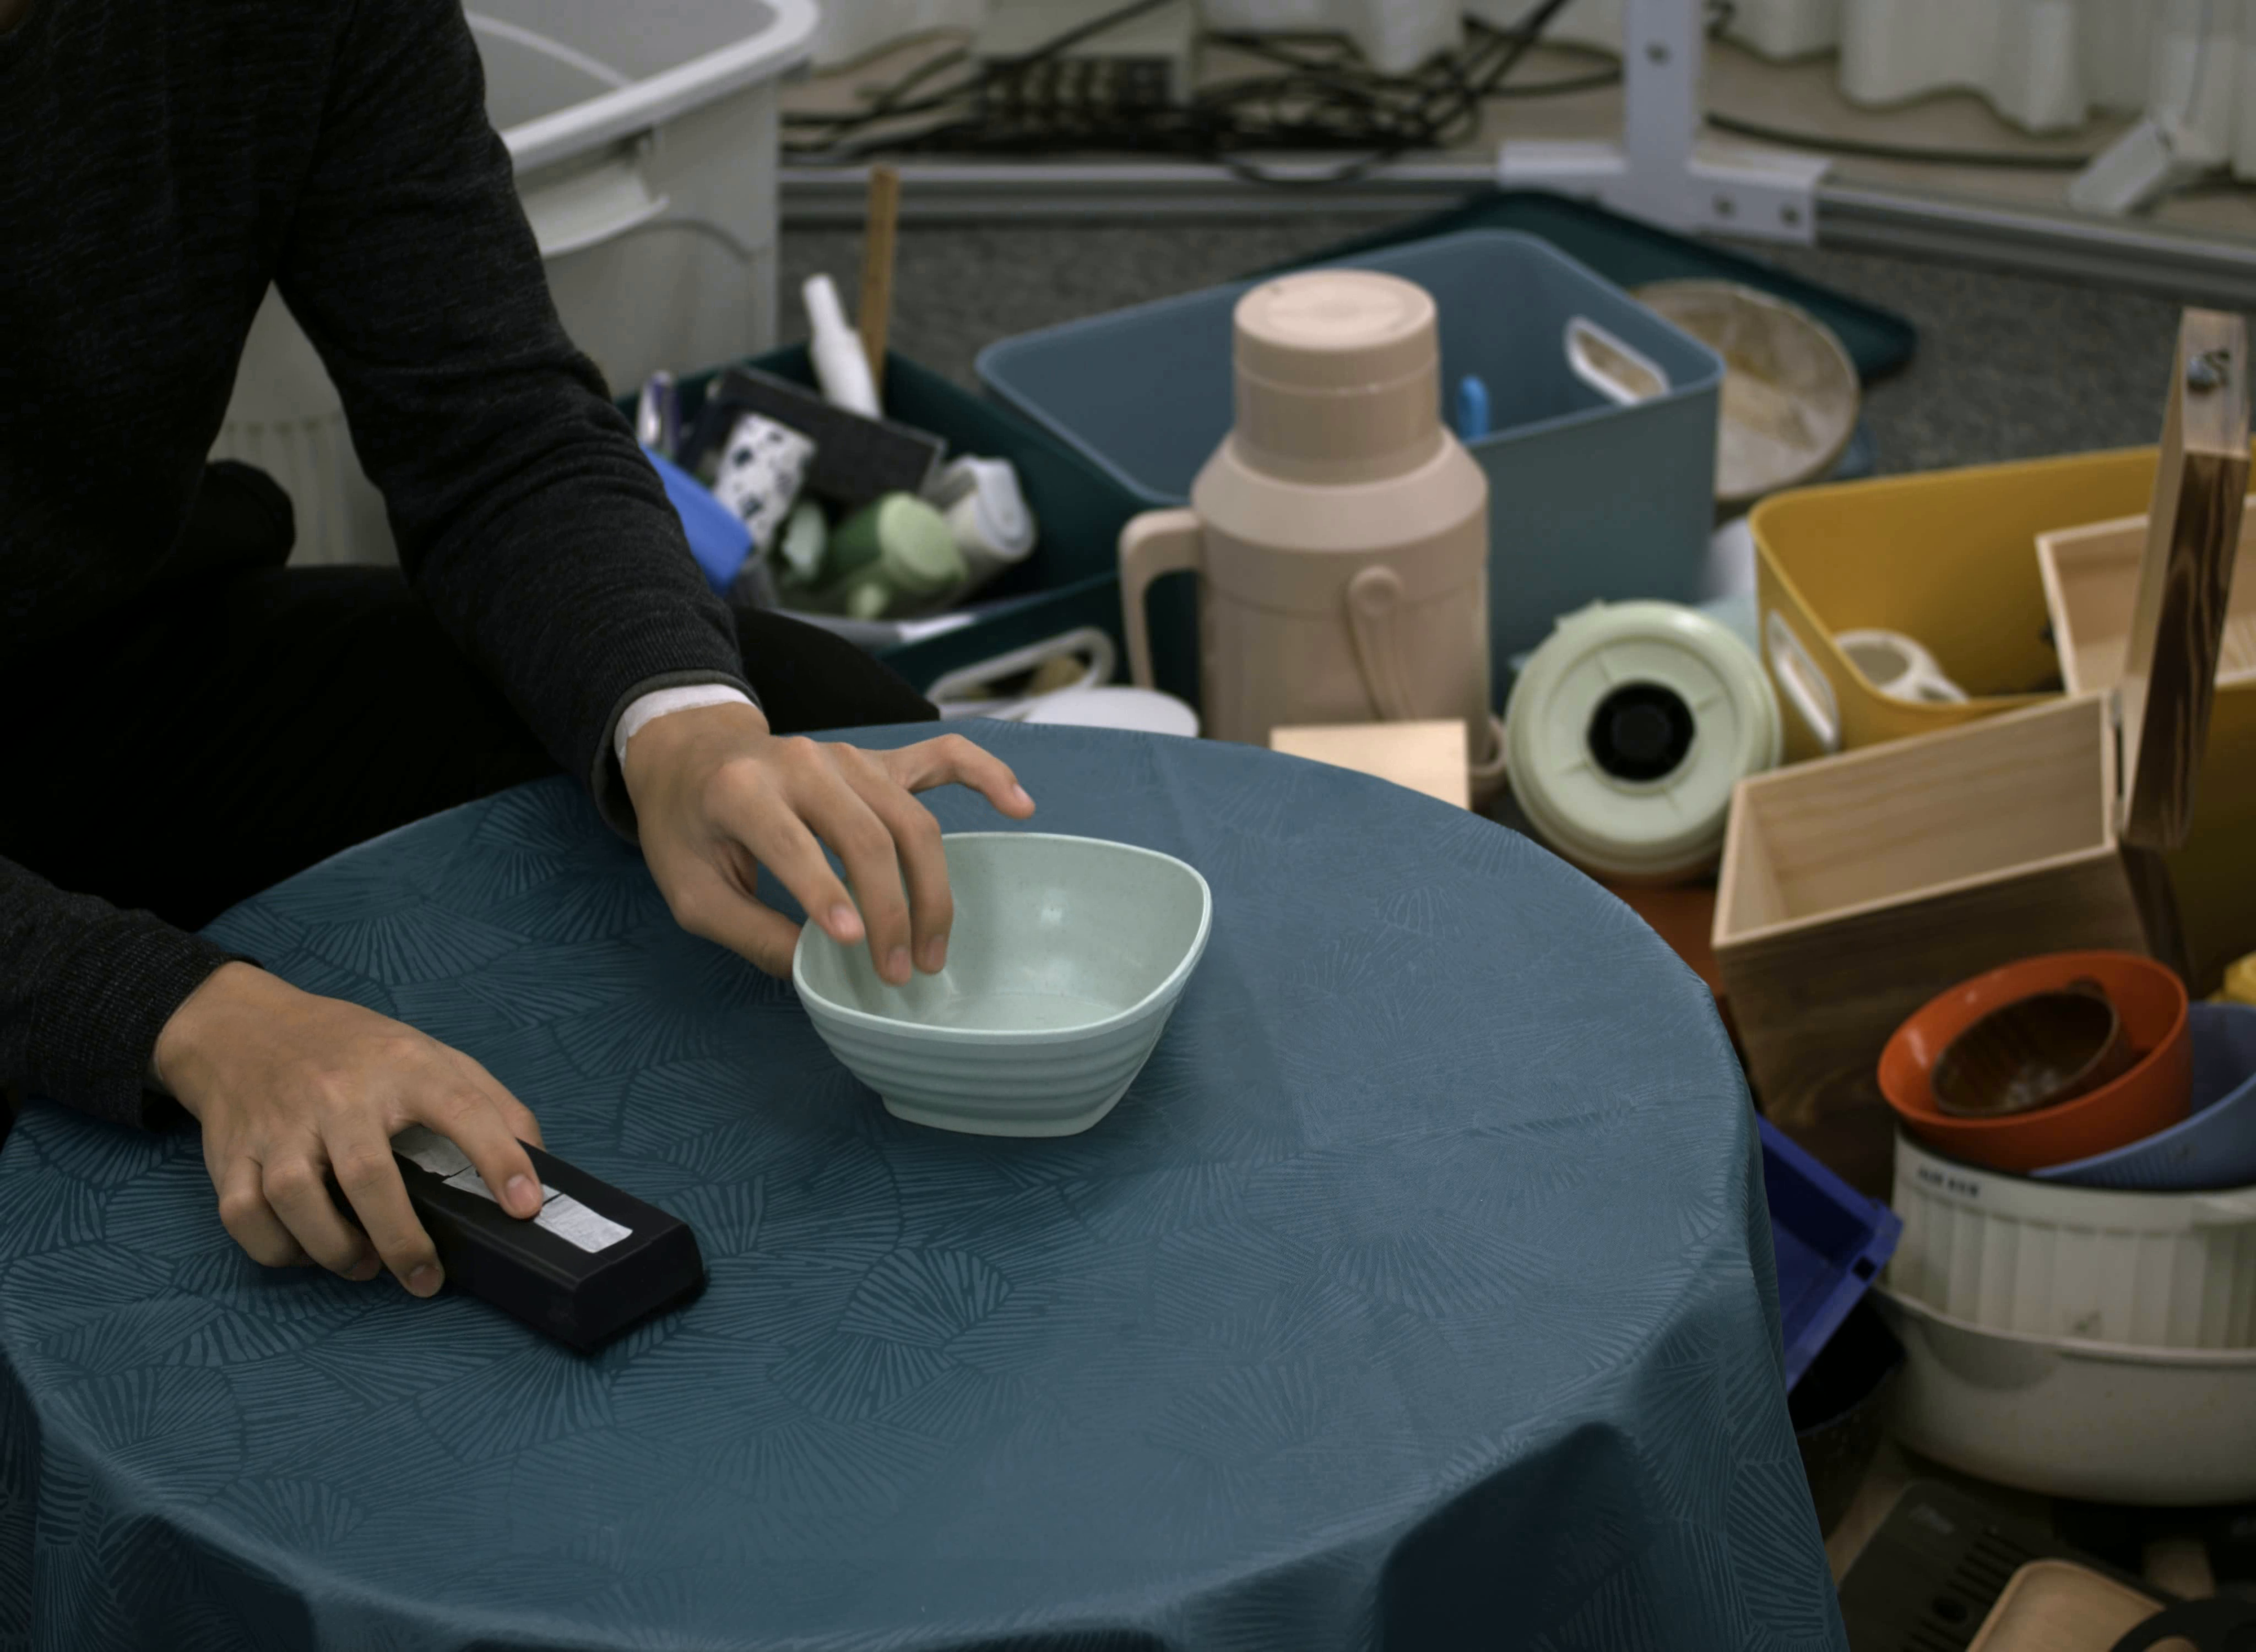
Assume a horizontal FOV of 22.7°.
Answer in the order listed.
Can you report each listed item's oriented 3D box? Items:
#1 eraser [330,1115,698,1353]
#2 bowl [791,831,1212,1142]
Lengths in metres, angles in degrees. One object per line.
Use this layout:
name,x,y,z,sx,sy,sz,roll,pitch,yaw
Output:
eraser,-0.200,0.132,1.829,0.125,0.030,0.054,20,32,38
bowl,-0.042,0.061,1.923,0.151,0.058,0.154,-1,28,1
